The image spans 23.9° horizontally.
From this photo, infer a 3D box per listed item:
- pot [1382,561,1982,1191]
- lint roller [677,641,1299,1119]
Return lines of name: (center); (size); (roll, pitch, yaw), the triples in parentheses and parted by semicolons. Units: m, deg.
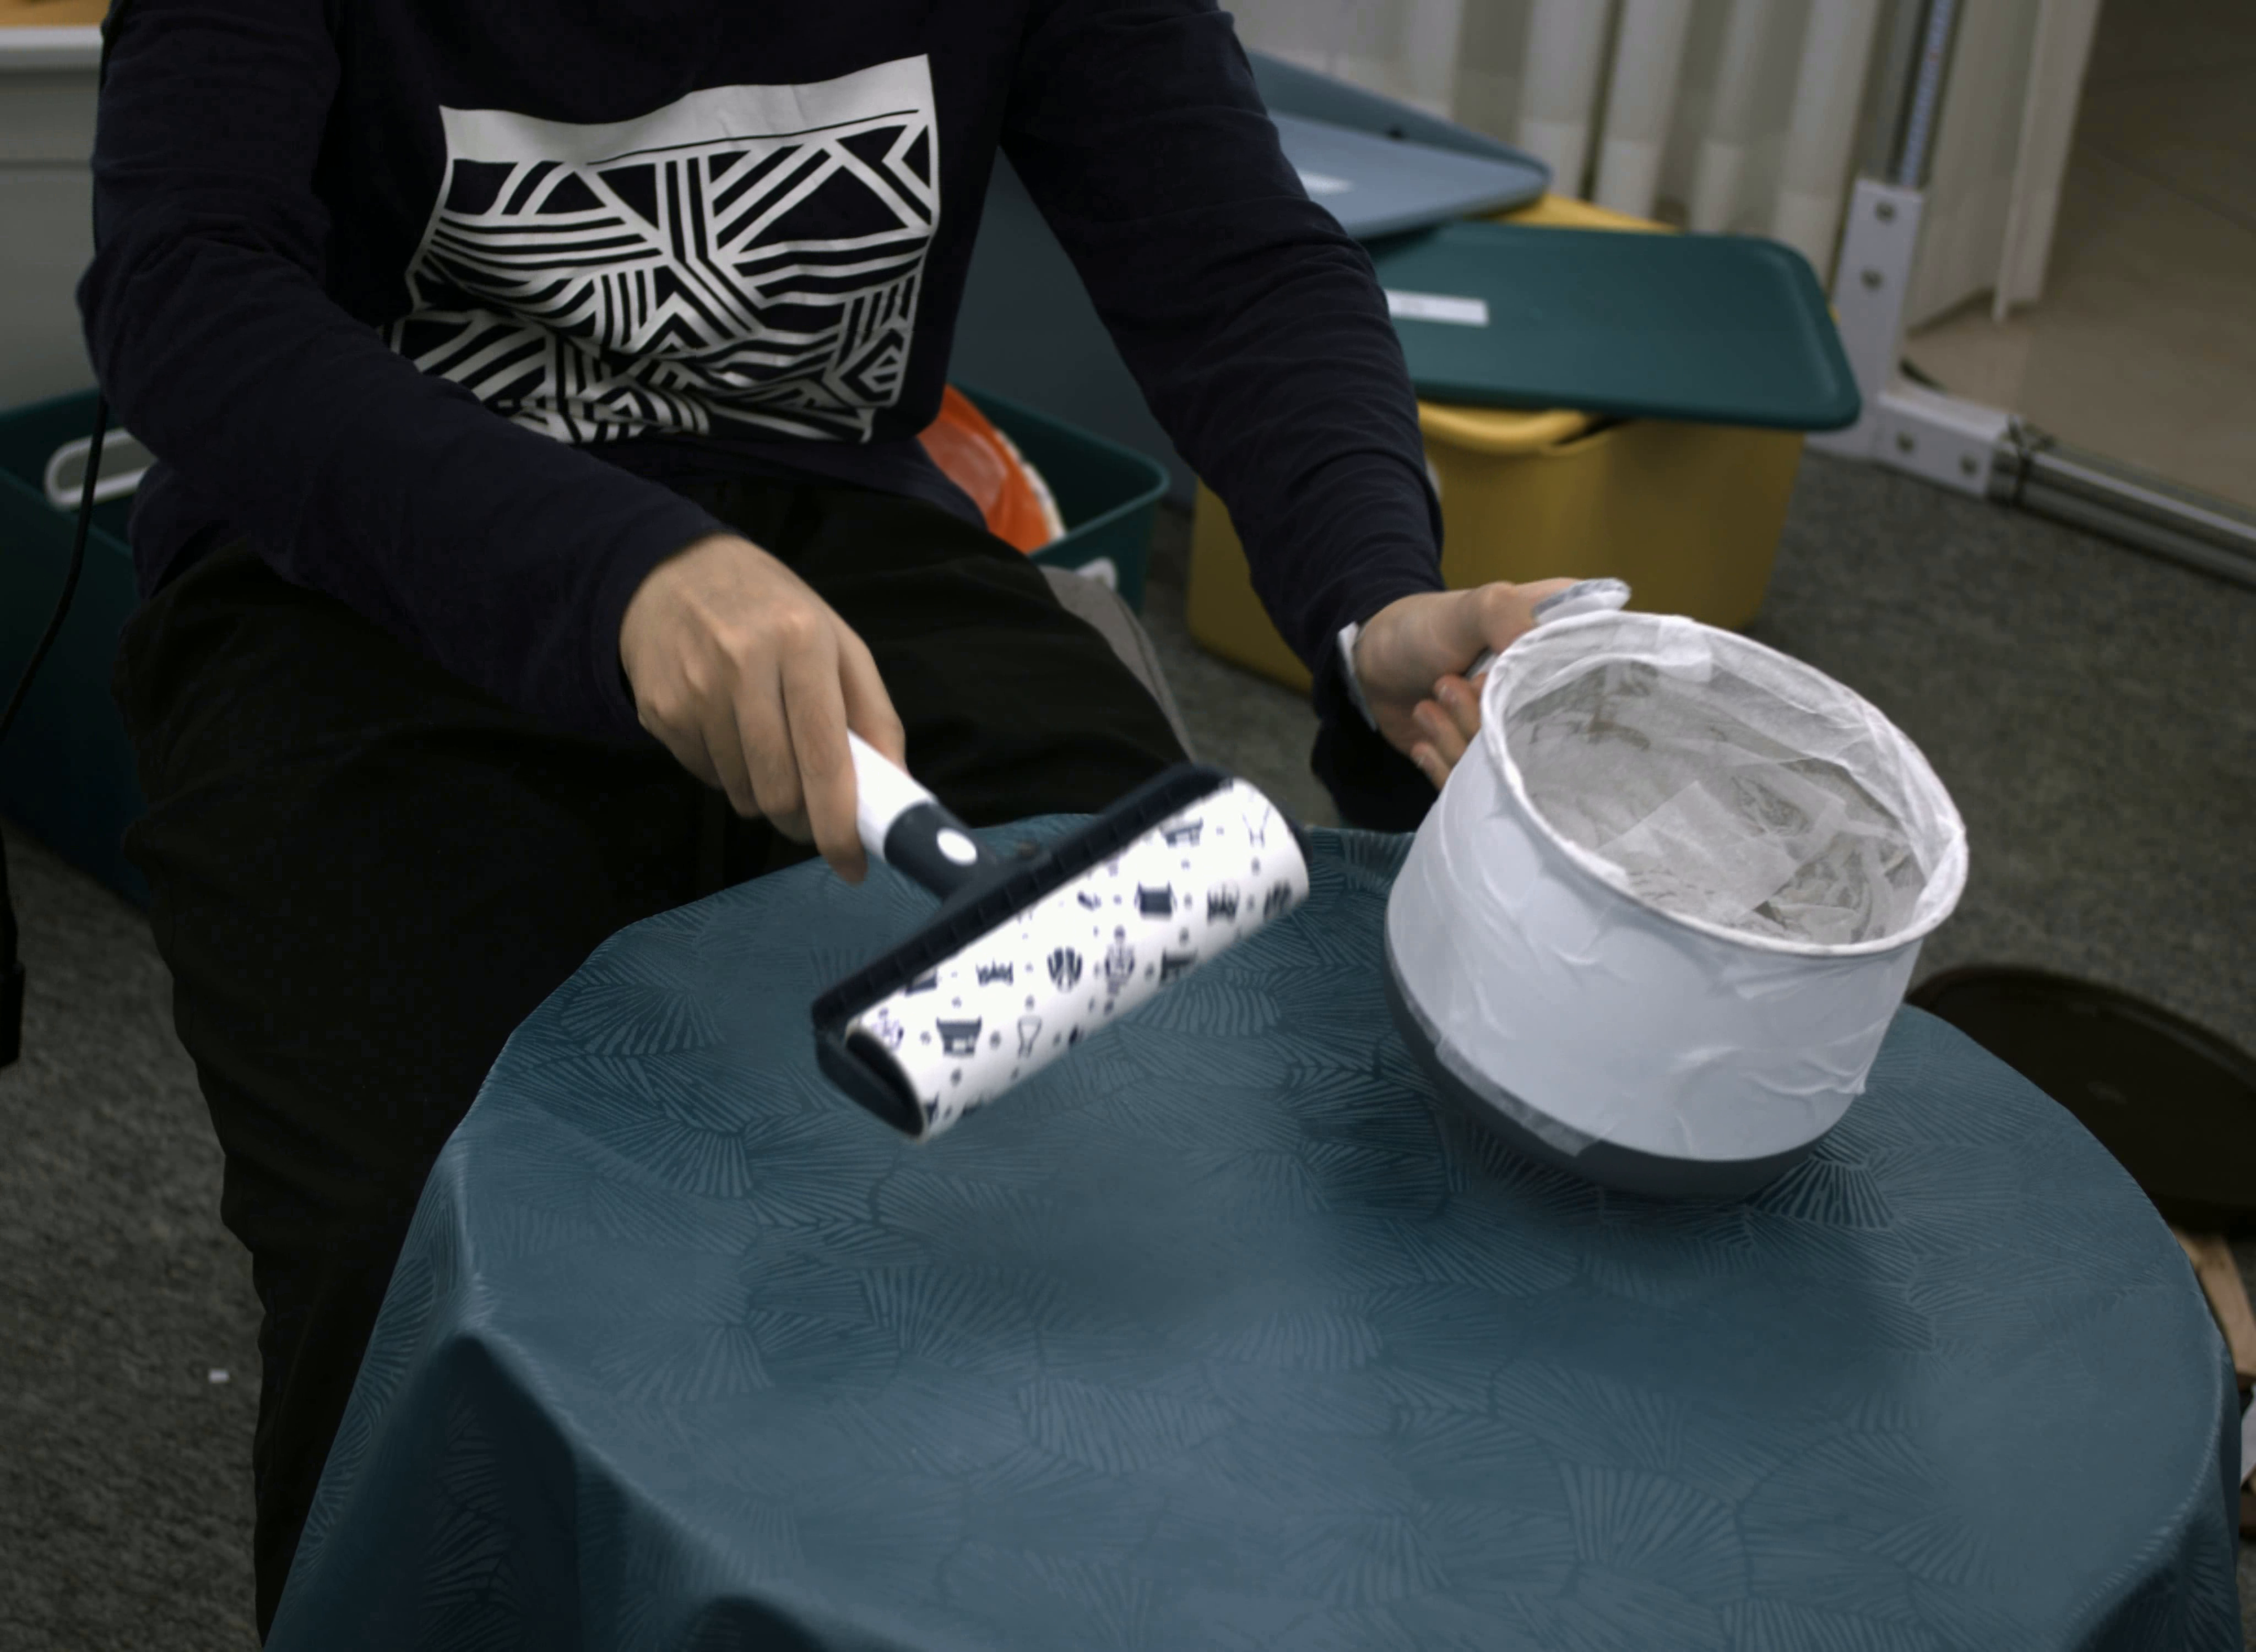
pot: (0.177, 0.007, 1.855); (0.177, 0.136, 0.236); (3, 42, -29)
lint roller: (-0.082, -0.009, 1.817); (0.176, 0.050, 0.249); (-35, 46, -22)
